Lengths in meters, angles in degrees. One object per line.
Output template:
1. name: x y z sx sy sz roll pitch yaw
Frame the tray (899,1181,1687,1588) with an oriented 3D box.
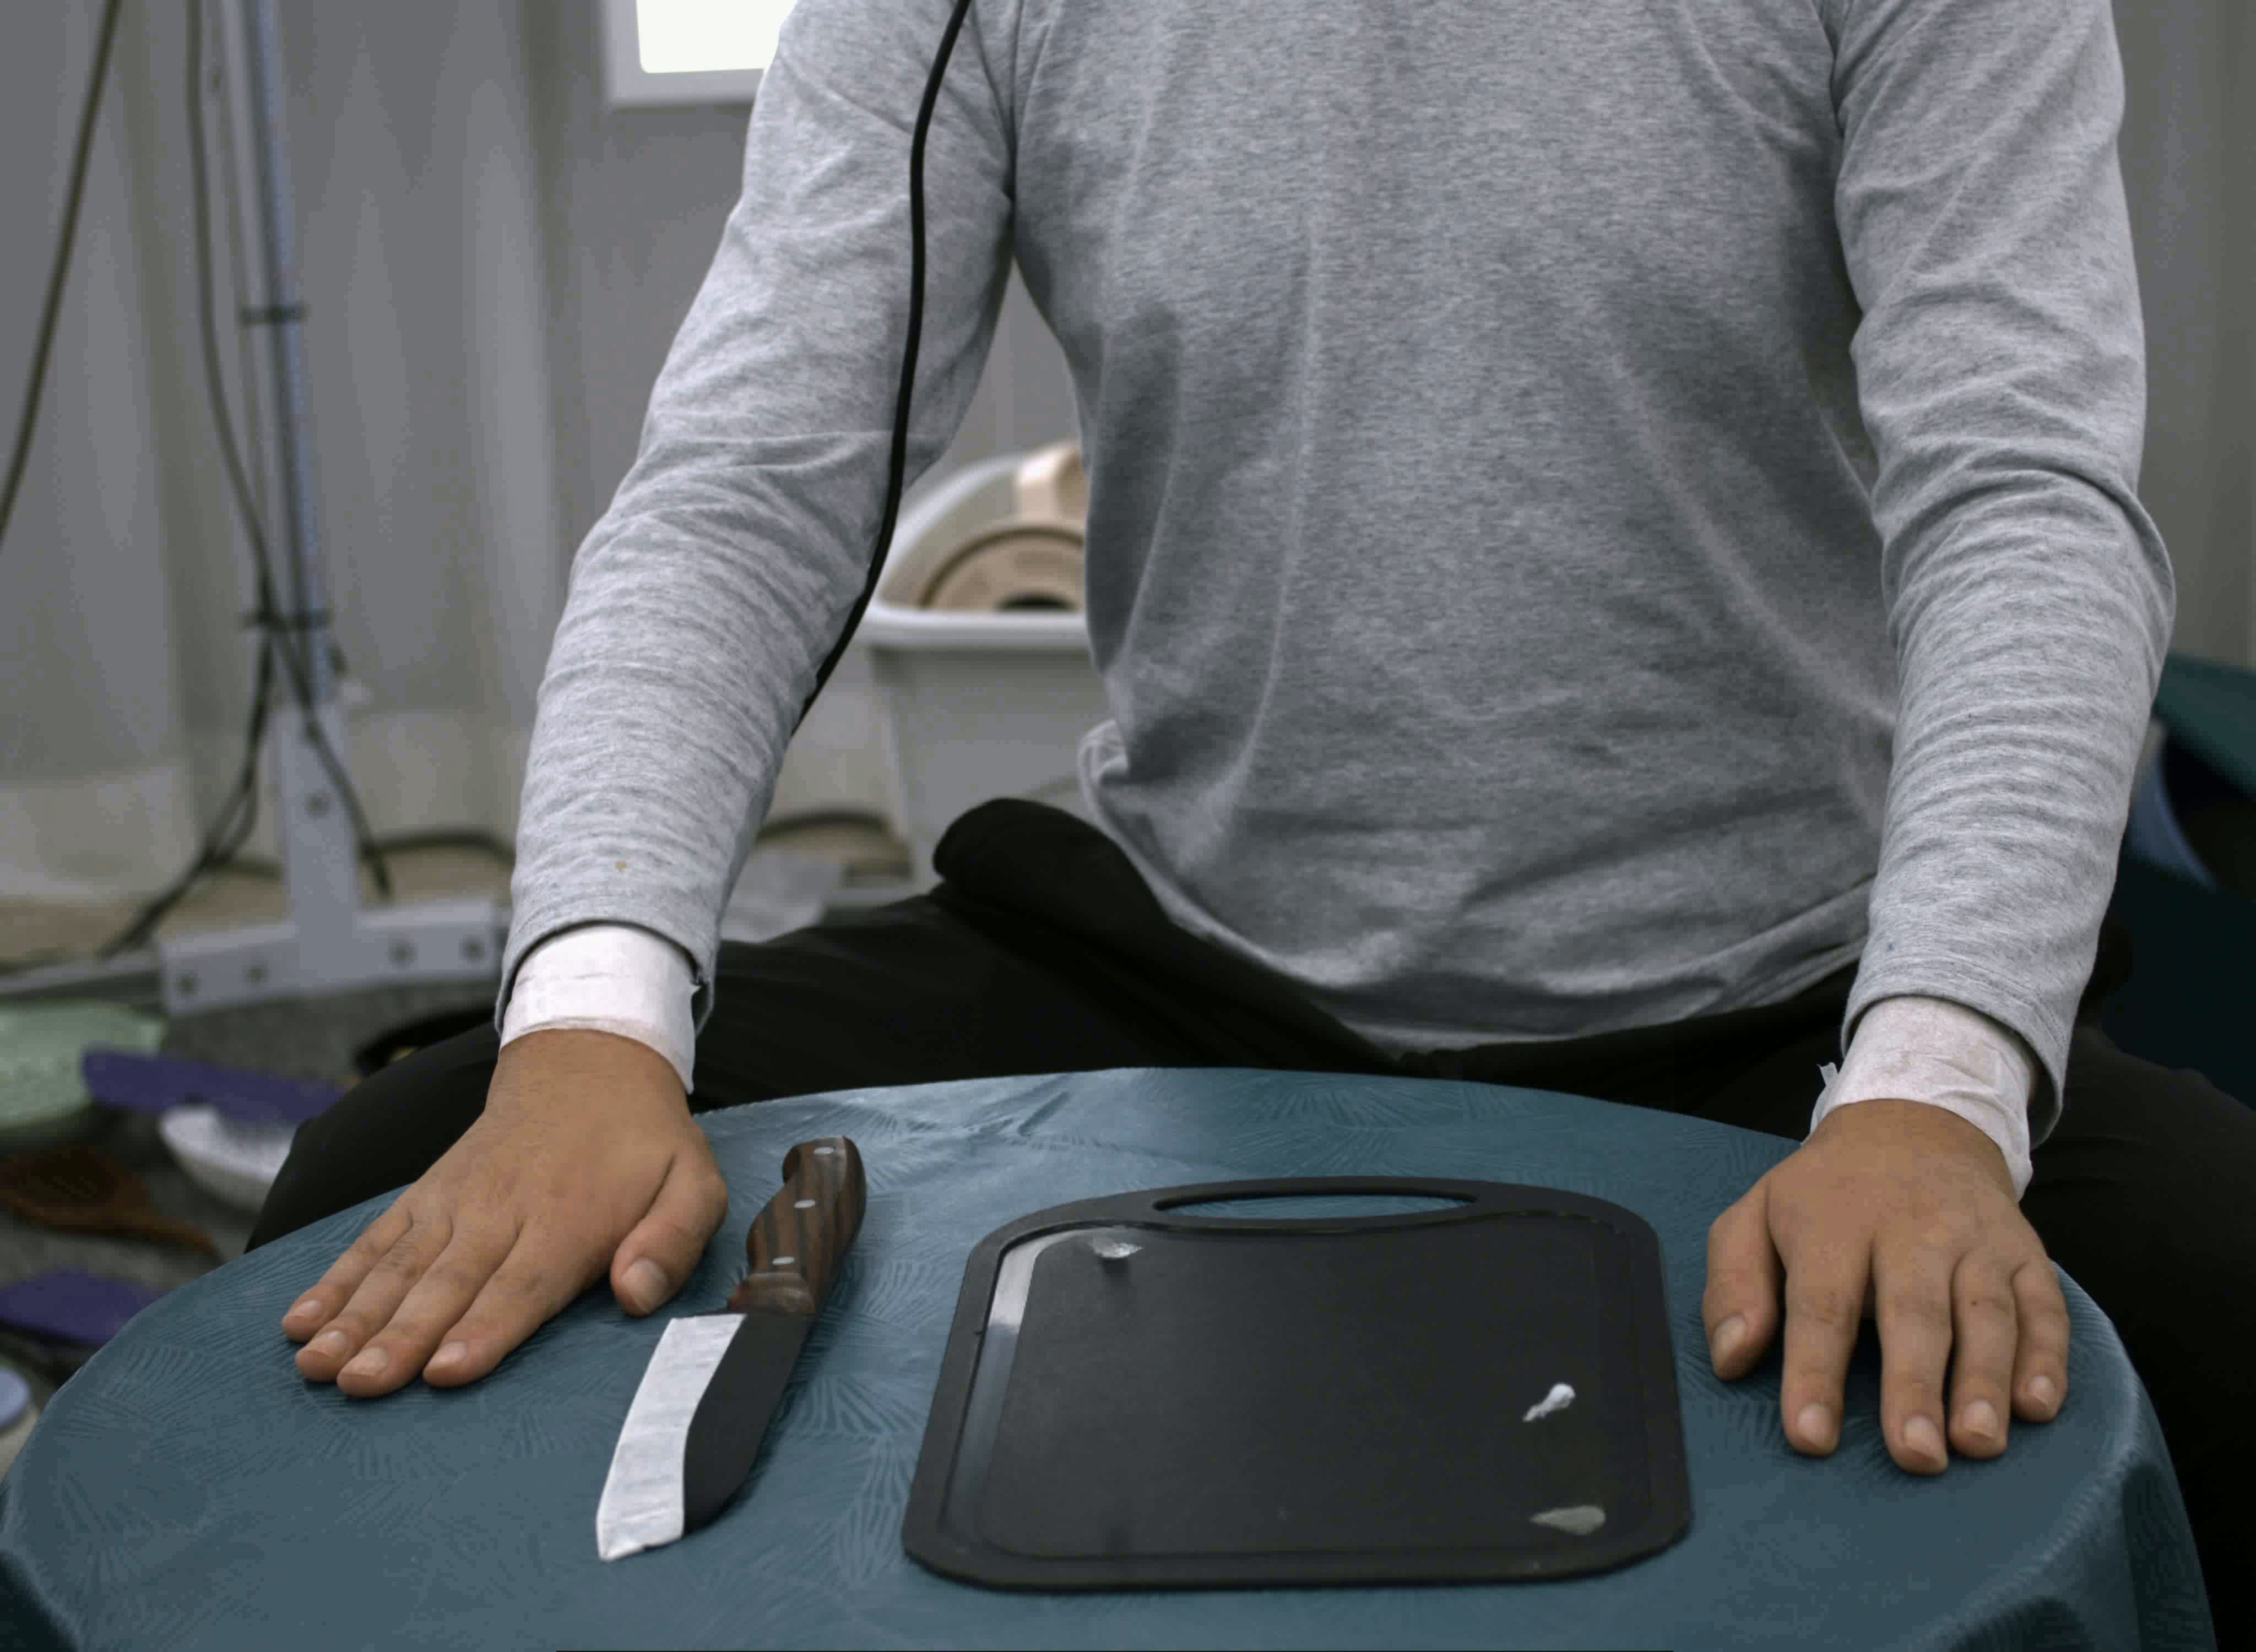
1. tray: 0.051 0.152 1.556 0.210 0.010 0.327 -1 14 5

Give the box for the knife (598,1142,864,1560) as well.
1. knife: -0.113 0.150 1.577 0.050 0.020 0.291 -6 16 10
